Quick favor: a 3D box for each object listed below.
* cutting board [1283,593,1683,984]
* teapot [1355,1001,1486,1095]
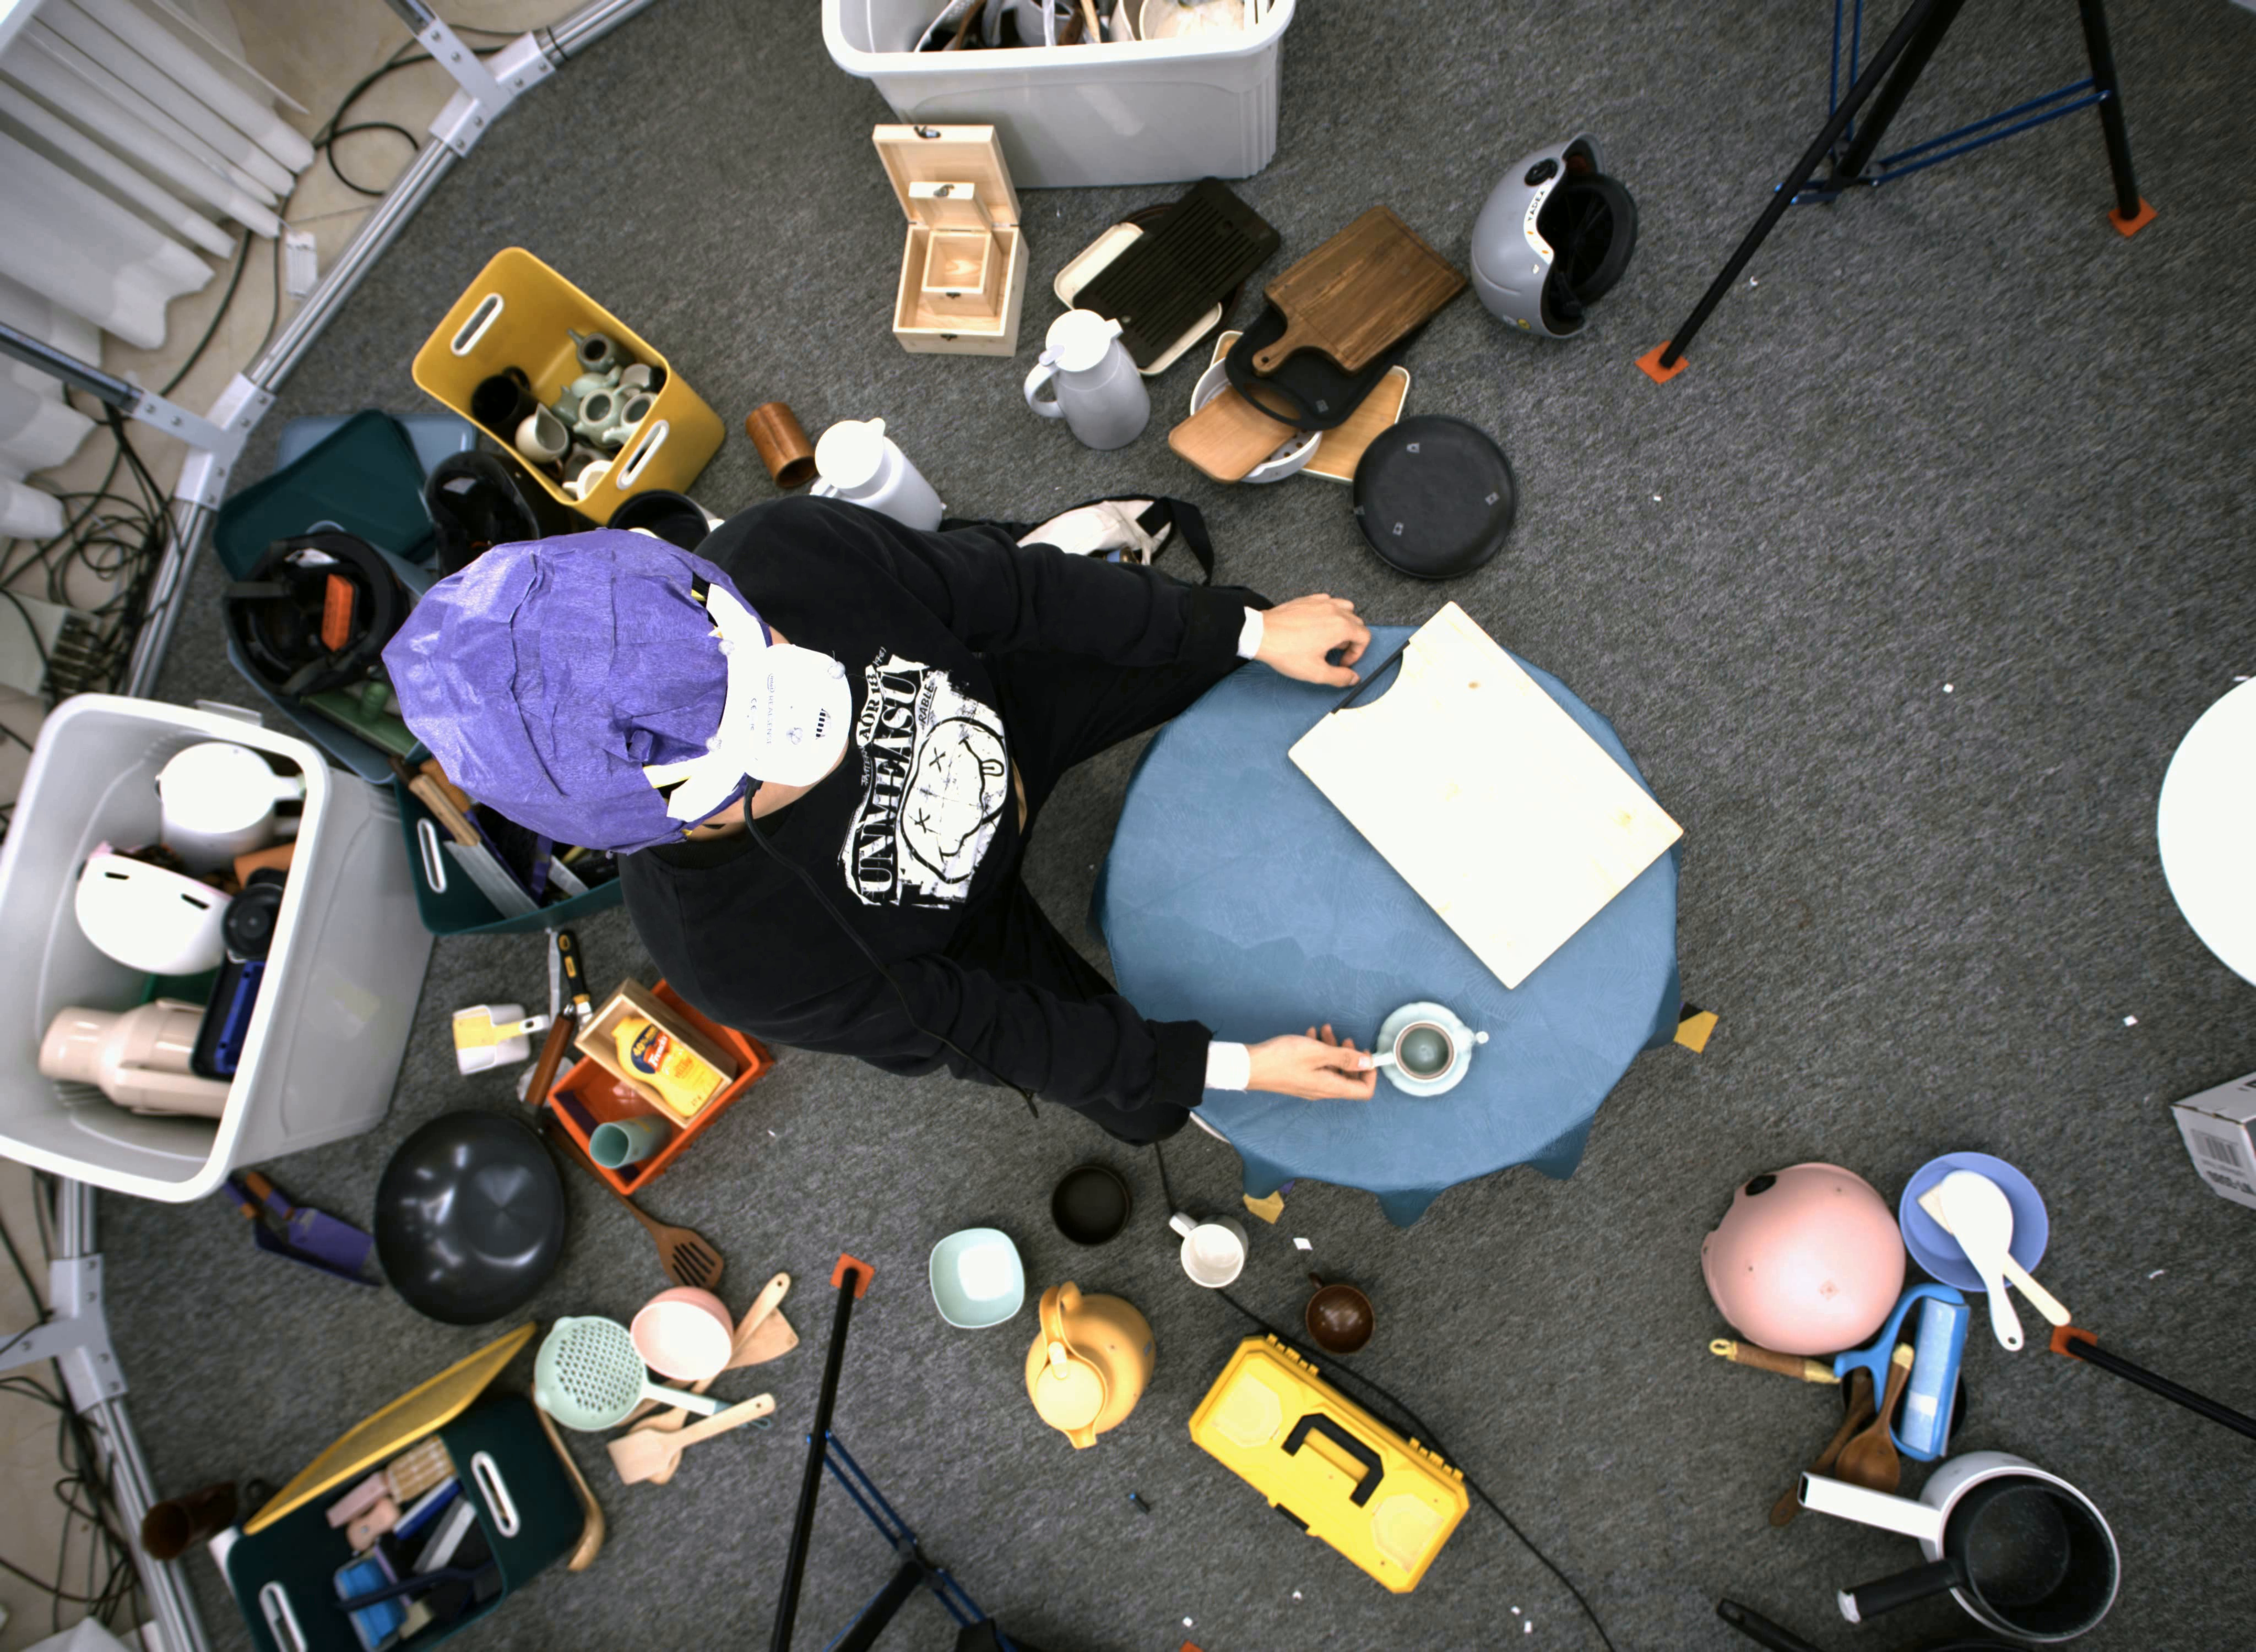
[{"bbox_3d":[0.367,-0.041,1.440,0.252,0.023,0.347,-44,81,6],"label":"cutting board"},{"bbox_3d":[0.299,0.228,1.418,0.138,0.061,0.096,-17,85,9],"label":"teapot"}]
